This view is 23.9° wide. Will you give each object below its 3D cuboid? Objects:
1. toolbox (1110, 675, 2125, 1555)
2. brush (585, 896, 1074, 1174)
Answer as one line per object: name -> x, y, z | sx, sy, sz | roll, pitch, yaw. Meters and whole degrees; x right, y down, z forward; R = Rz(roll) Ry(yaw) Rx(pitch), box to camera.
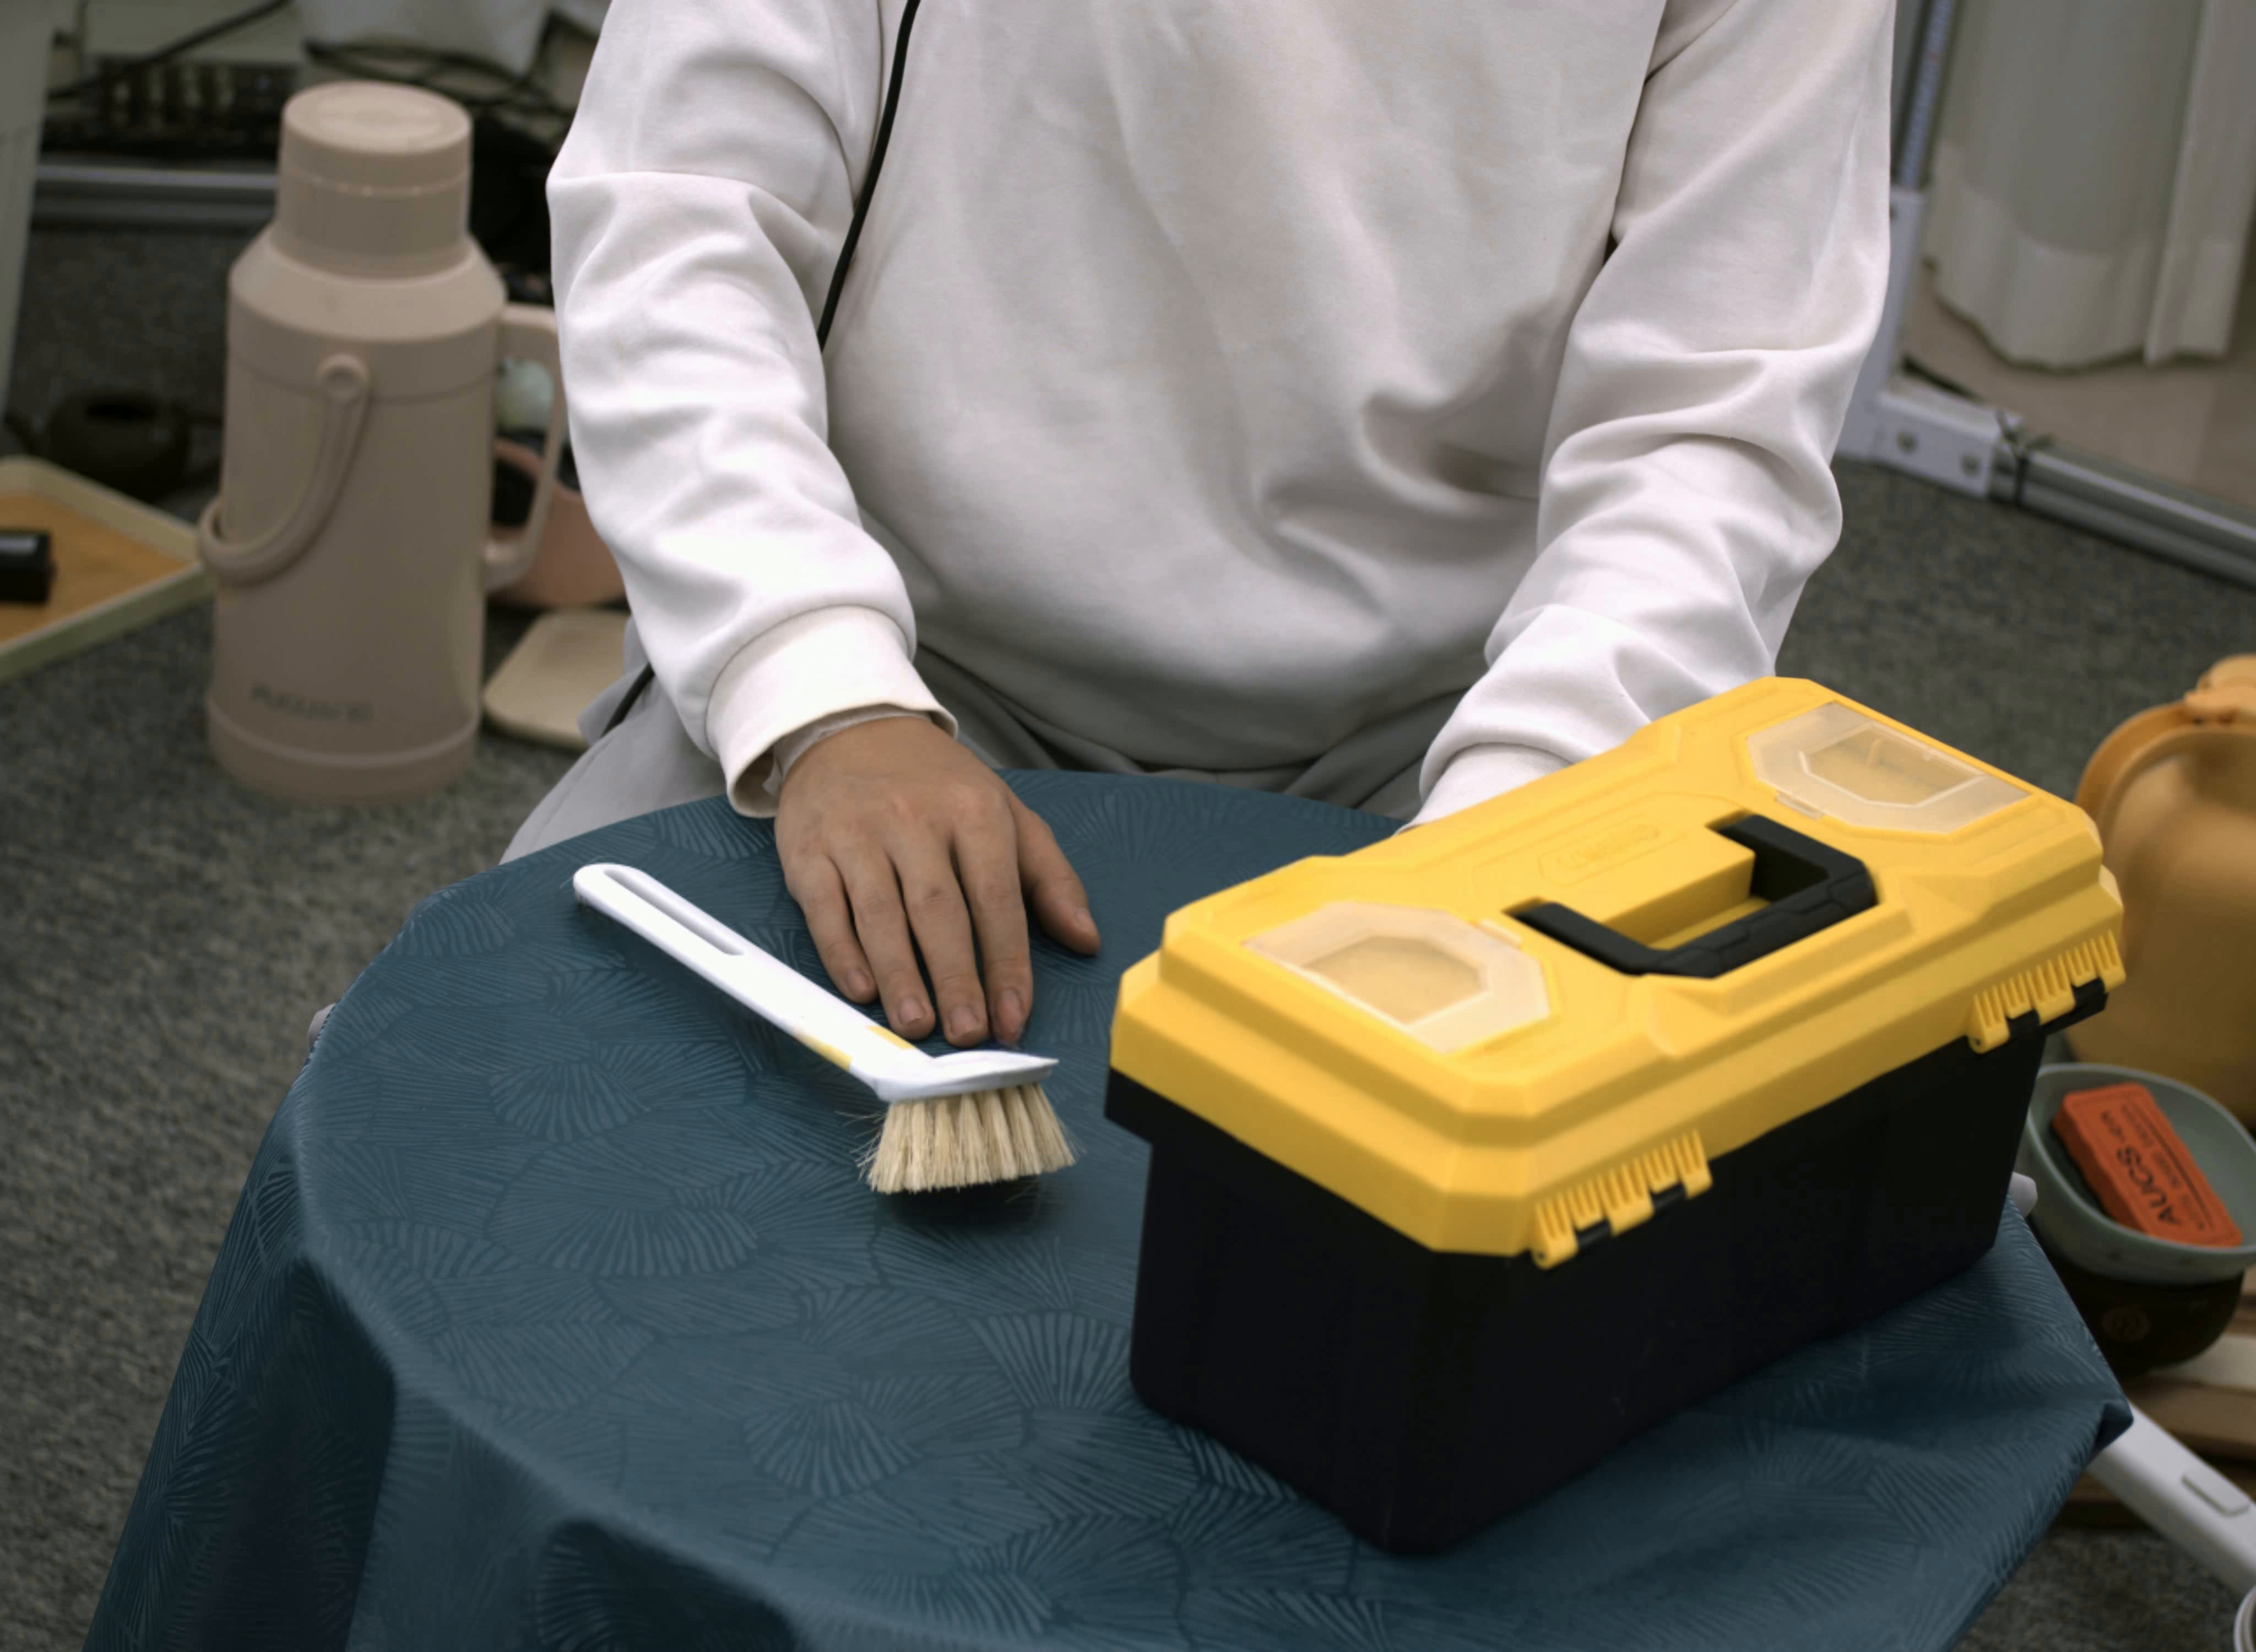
toolbox -> 0.156, 0.087, 1.724 | 0.182, 0.172, 0.350 | 29, 34, 35
brush -> -0.112, 0.075, 1.860 | 0.068, 0.056, 0.268 | 10, 3, -41
